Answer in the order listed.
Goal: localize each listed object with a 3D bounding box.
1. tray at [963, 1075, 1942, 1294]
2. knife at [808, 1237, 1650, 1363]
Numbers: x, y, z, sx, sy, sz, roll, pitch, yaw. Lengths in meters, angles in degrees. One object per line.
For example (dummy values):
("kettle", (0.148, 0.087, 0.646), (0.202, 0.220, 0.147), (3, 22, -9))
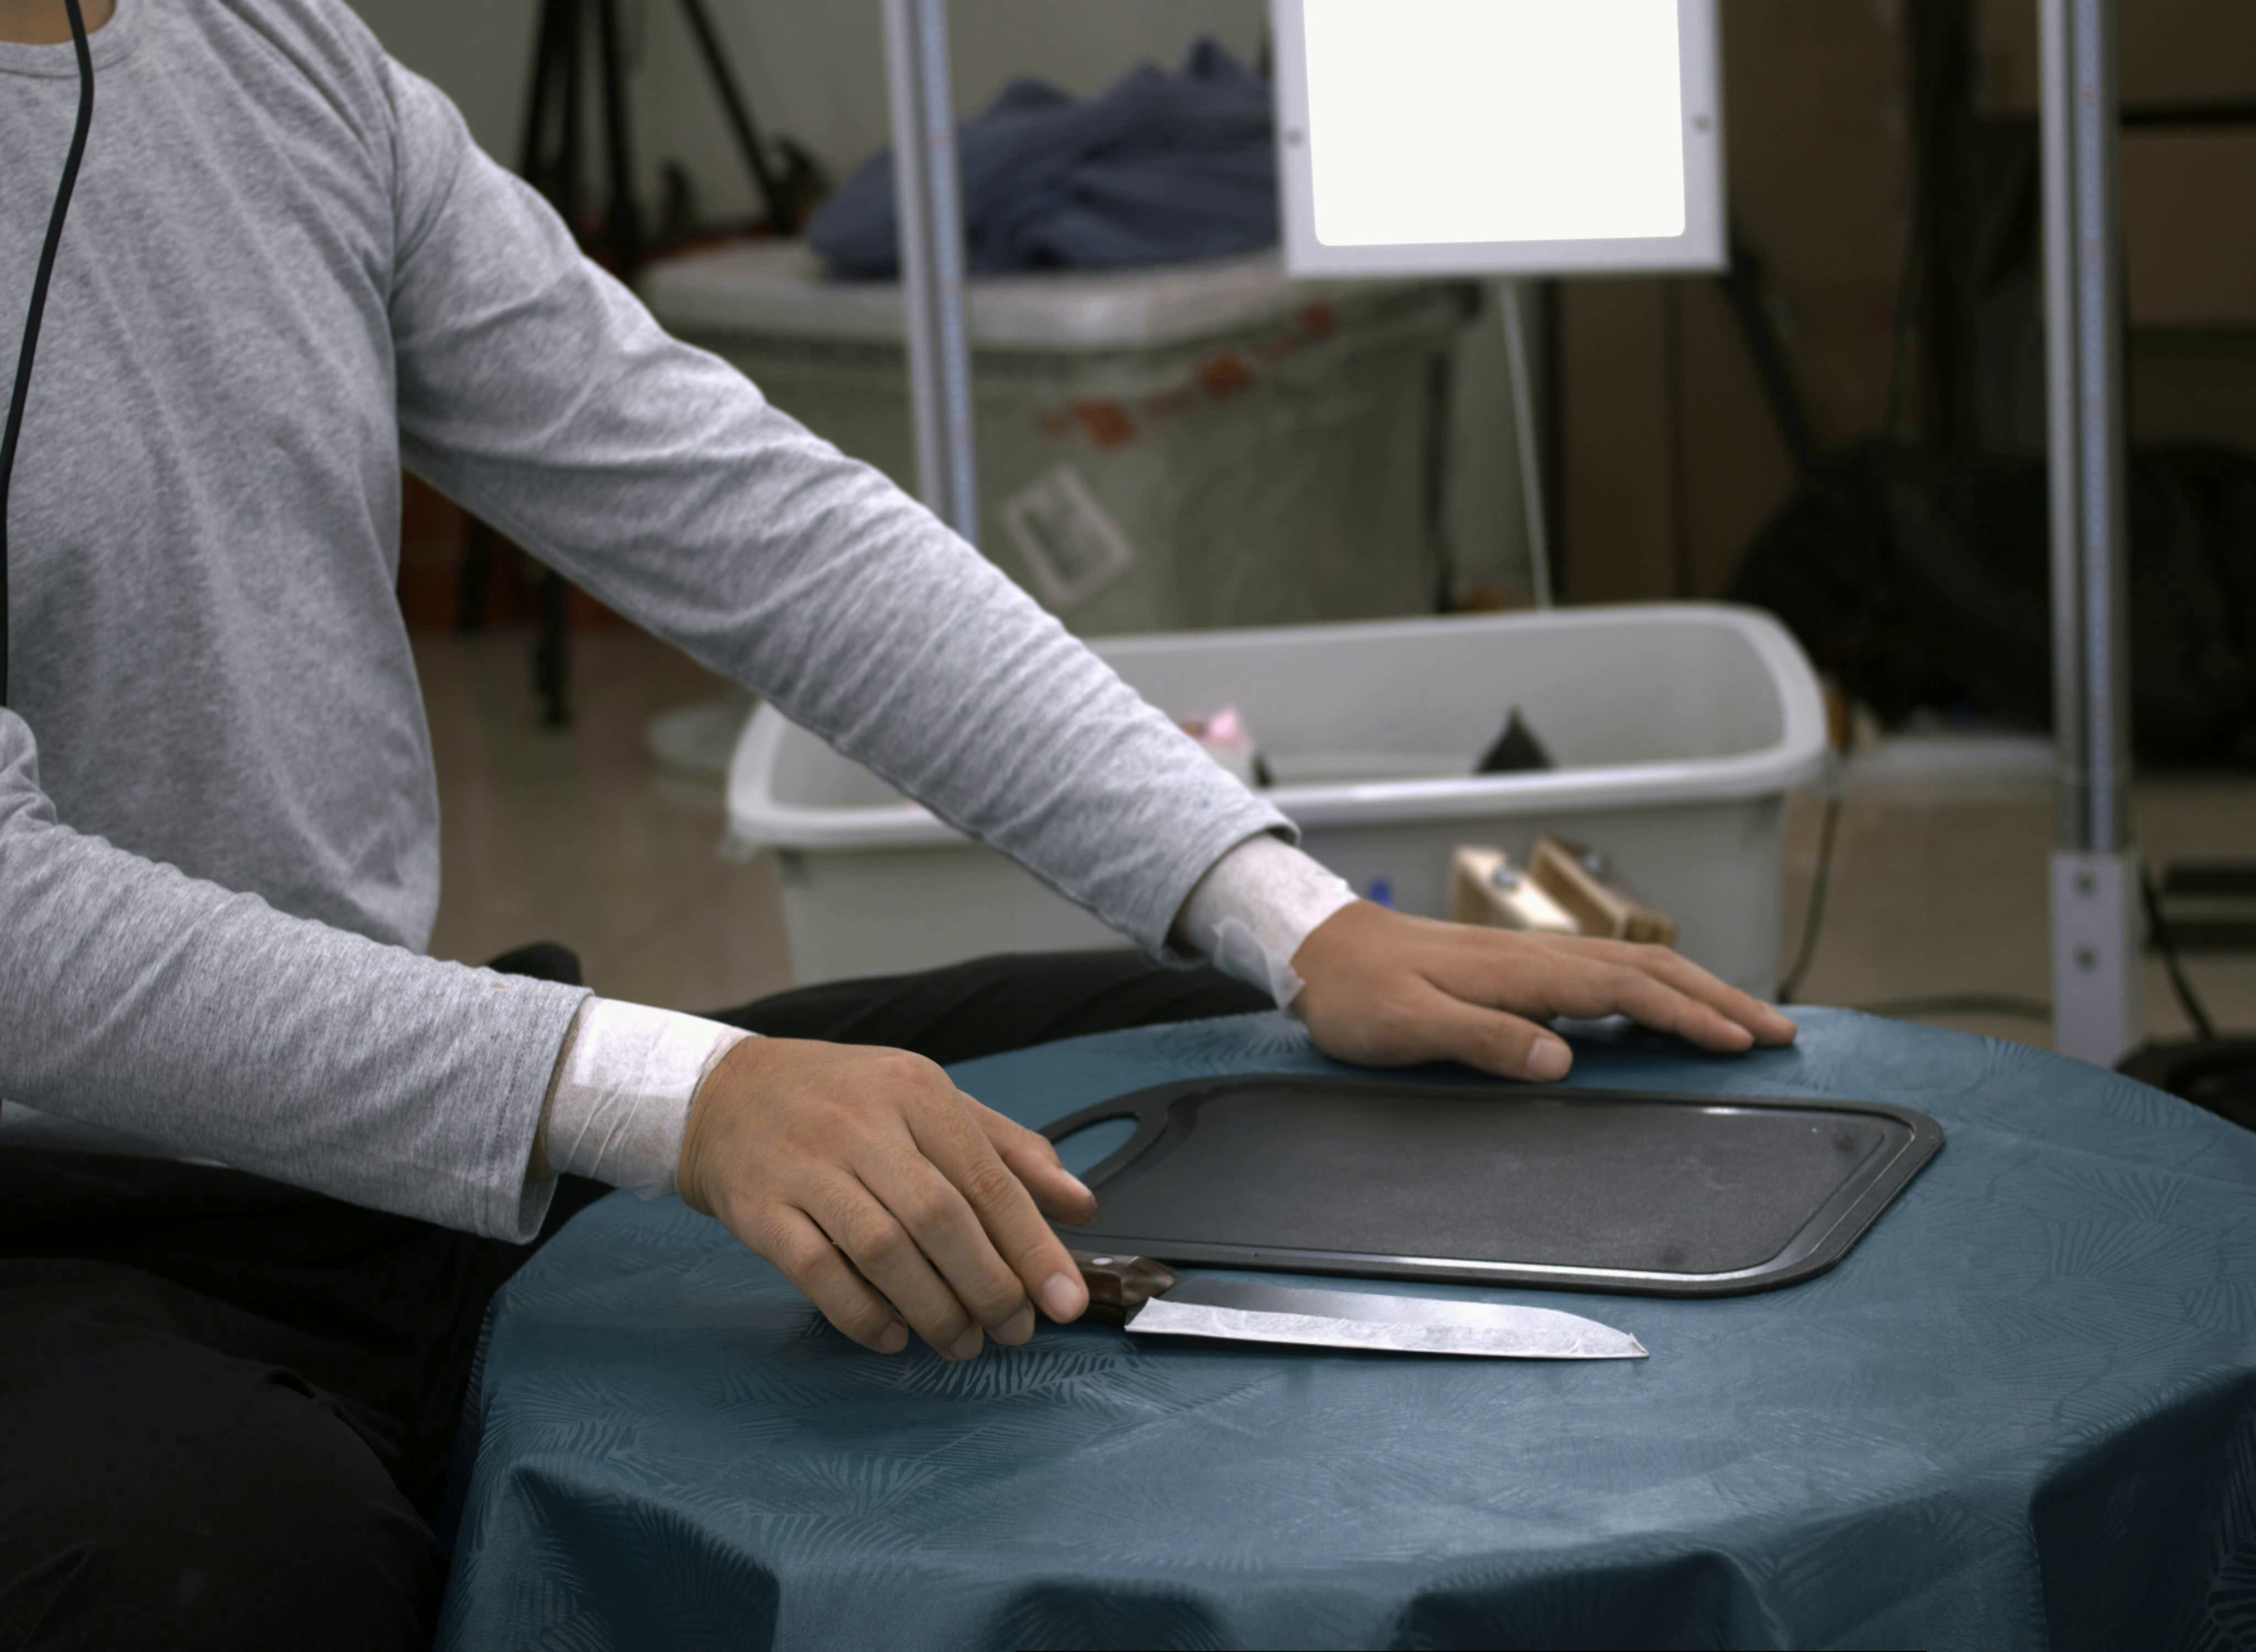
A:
("tray", (0.105, 0.119, 1.885), (0.331, 0.010, 0.207), (1, 15, 26))
("knife", (0.028, 0.153, 1.753), (0.293, 0.020, 0.049), (4, 20, 23))
